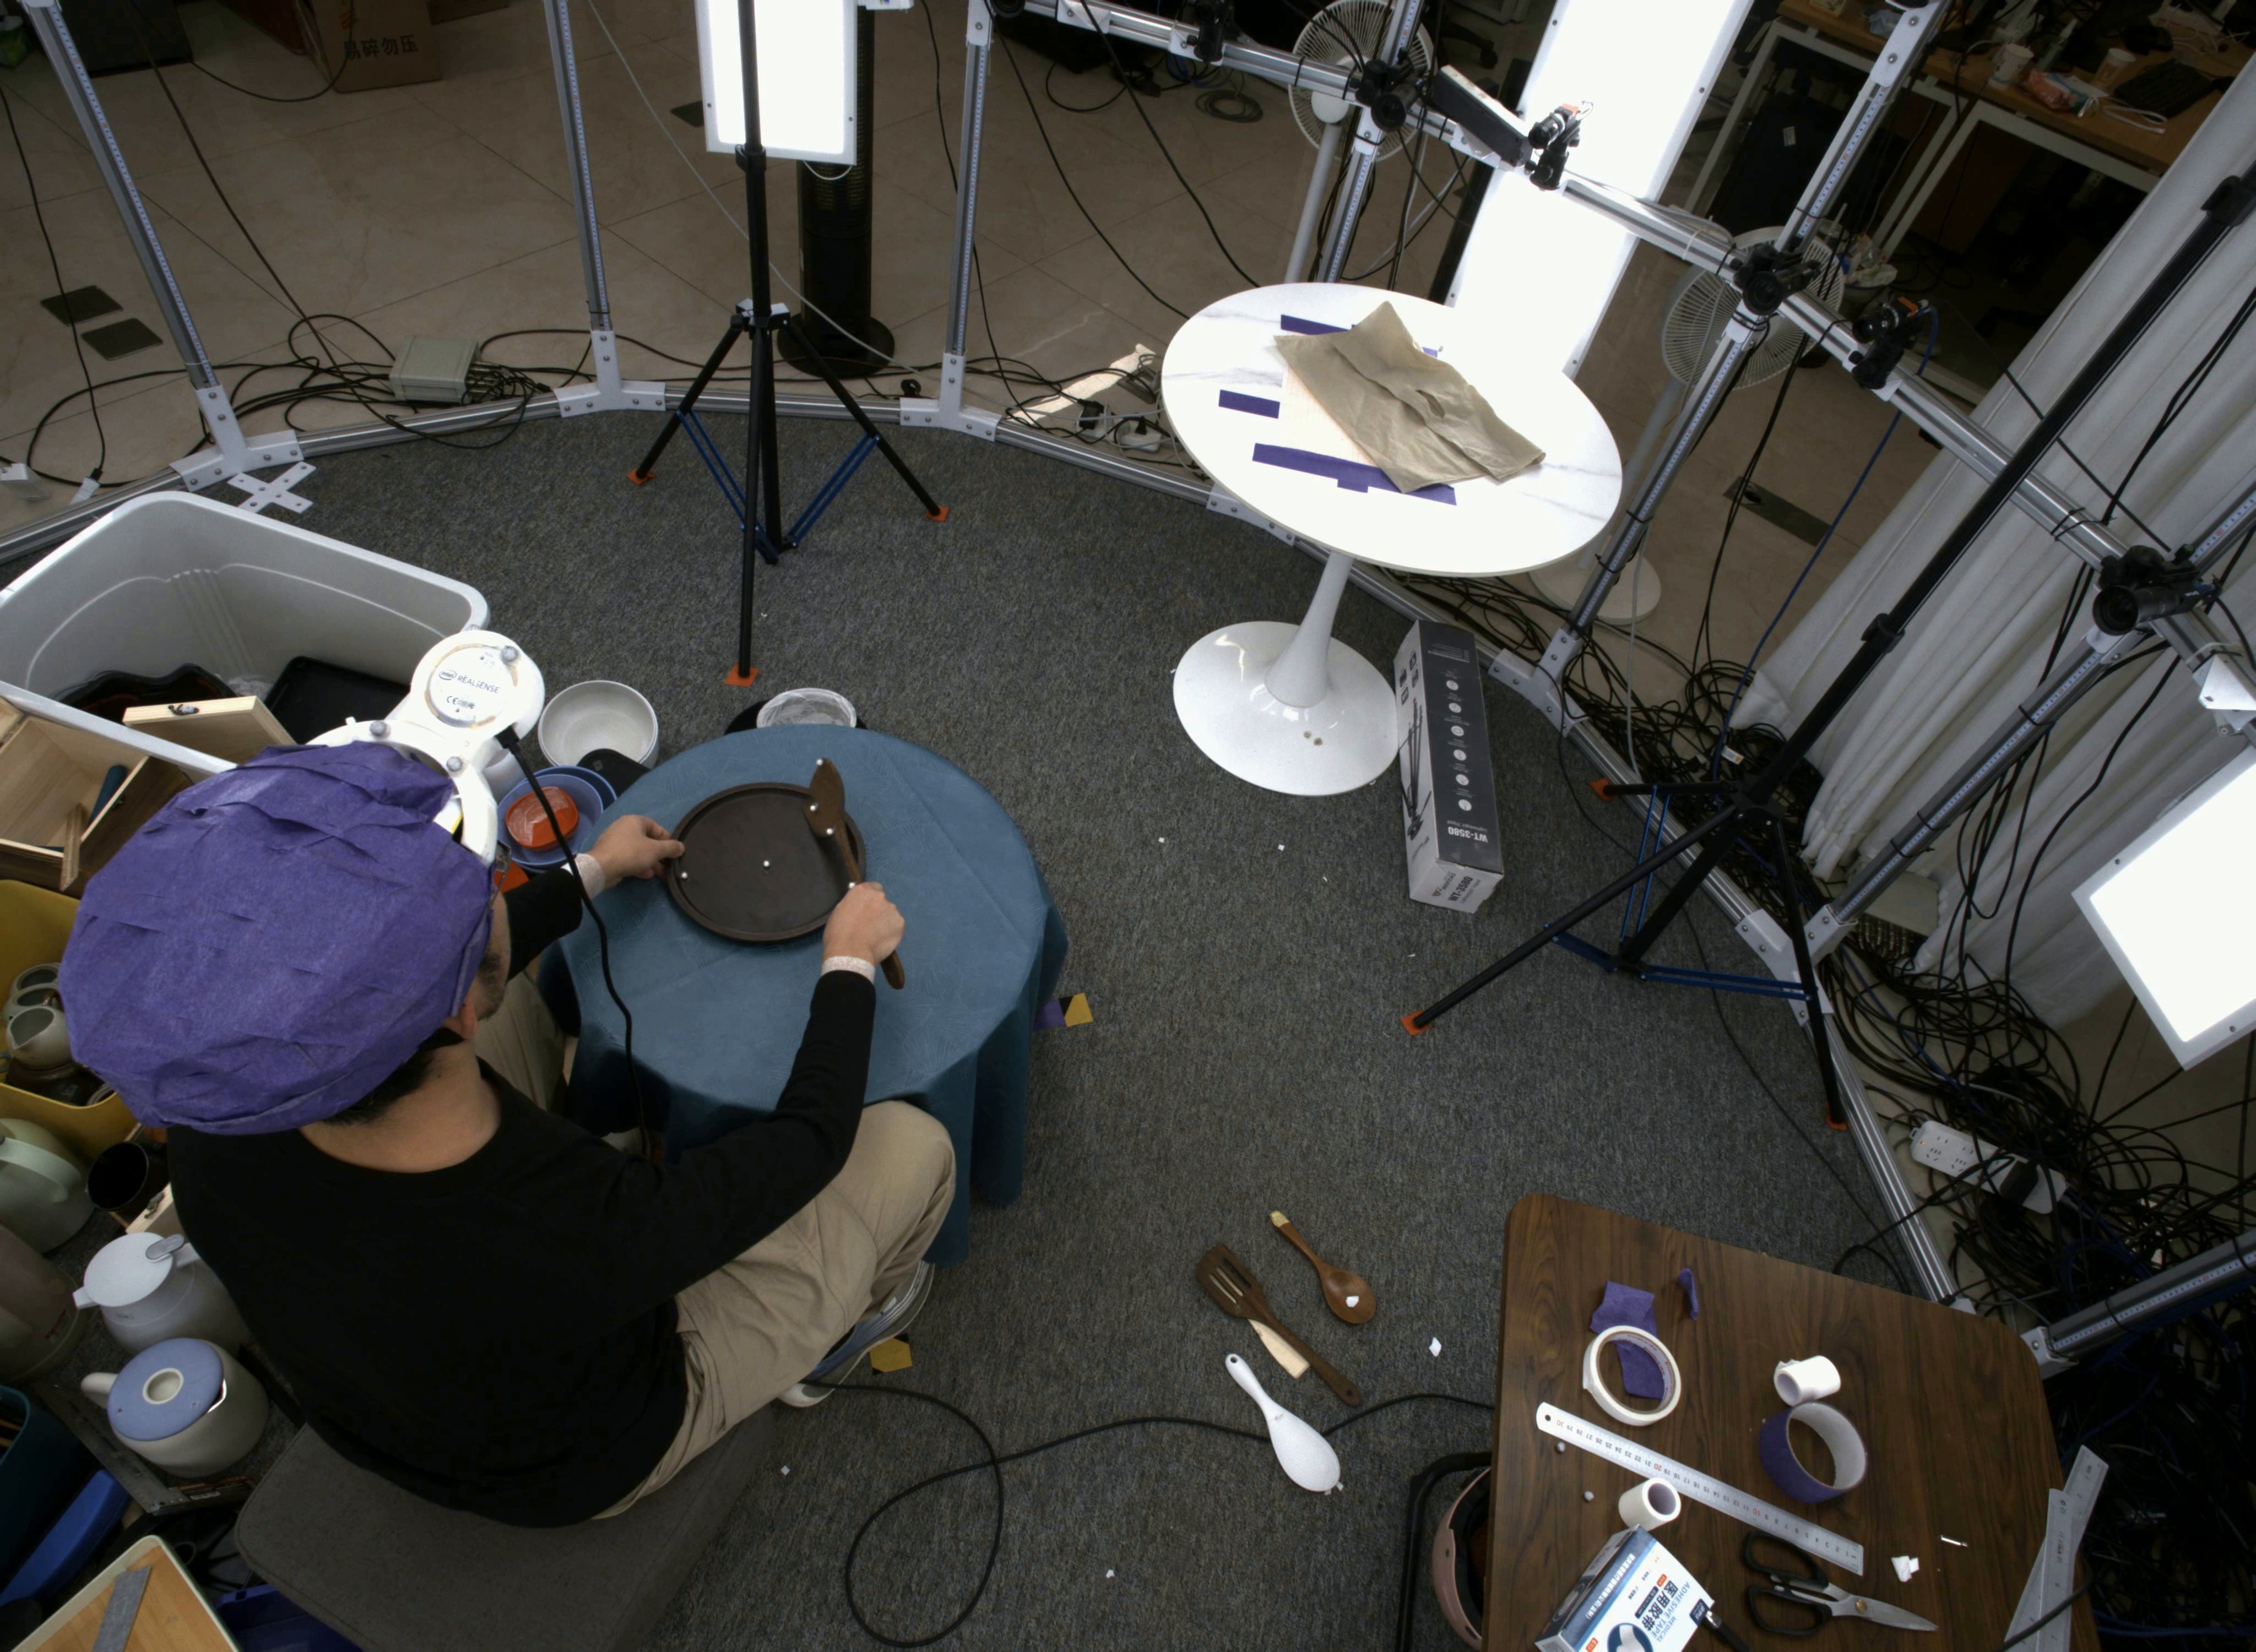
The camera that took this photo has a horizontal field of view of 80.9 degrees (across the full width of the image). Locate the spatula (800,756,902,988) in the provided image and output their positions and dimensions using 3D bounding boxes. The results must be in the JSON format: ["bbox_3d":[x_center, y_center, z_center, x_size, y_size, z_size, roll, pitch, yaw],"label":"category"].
[{"bbox_3d":[-0.340,0.056,1.584,0.016,0.097,0.373,4,38,-36],"label":"spatula"}]

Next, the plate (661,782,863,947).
[{"bbox_3d":[-0.468,0.046,1.657,0.254,0.029,0.250,9,53,-10],"label":"plate"}]
